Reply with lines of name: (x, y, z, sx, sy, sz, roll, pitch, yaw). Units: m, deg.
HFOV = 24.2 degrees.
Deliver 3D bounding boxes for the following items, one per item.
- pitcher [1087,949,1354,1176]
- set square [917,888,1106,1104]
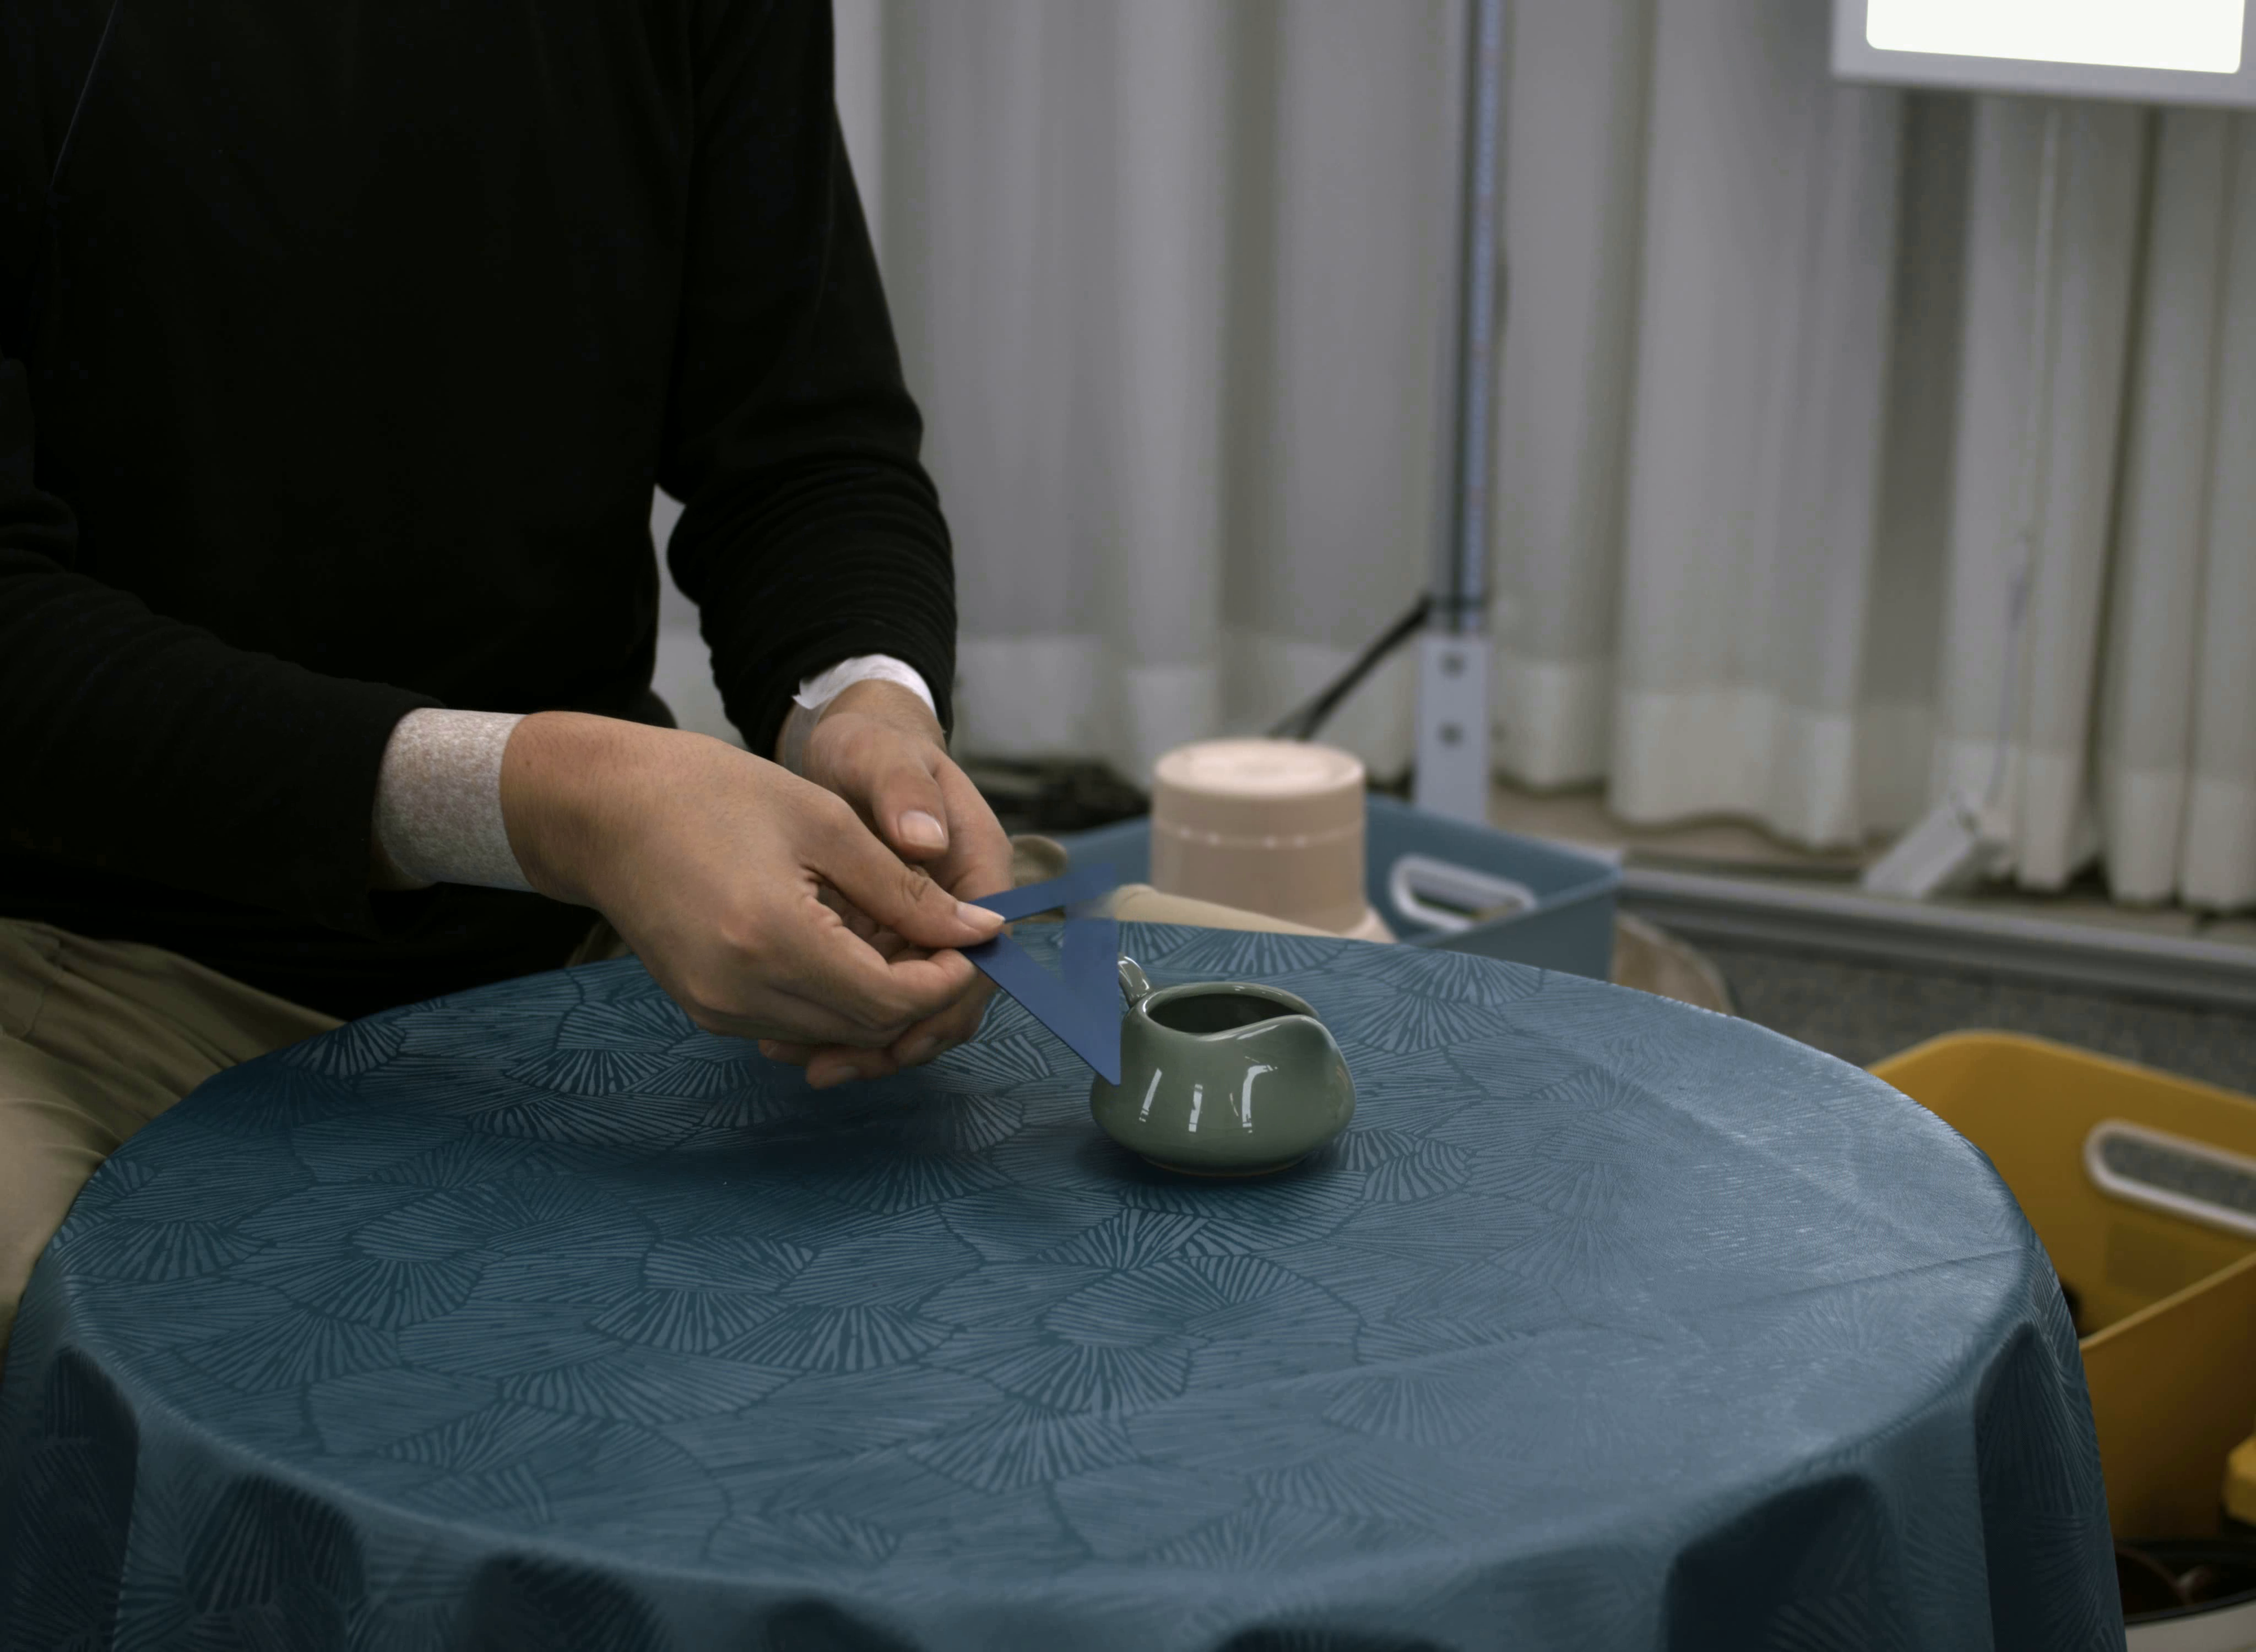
pitcher: (0.024, 0.074, 1.654, 0.111, 0.056, 0.084, 13, 18, 38)
set square: (-0.038, 0.049, 1.616, 0.061, 0.006, 0.131, 3, 29, 2)
